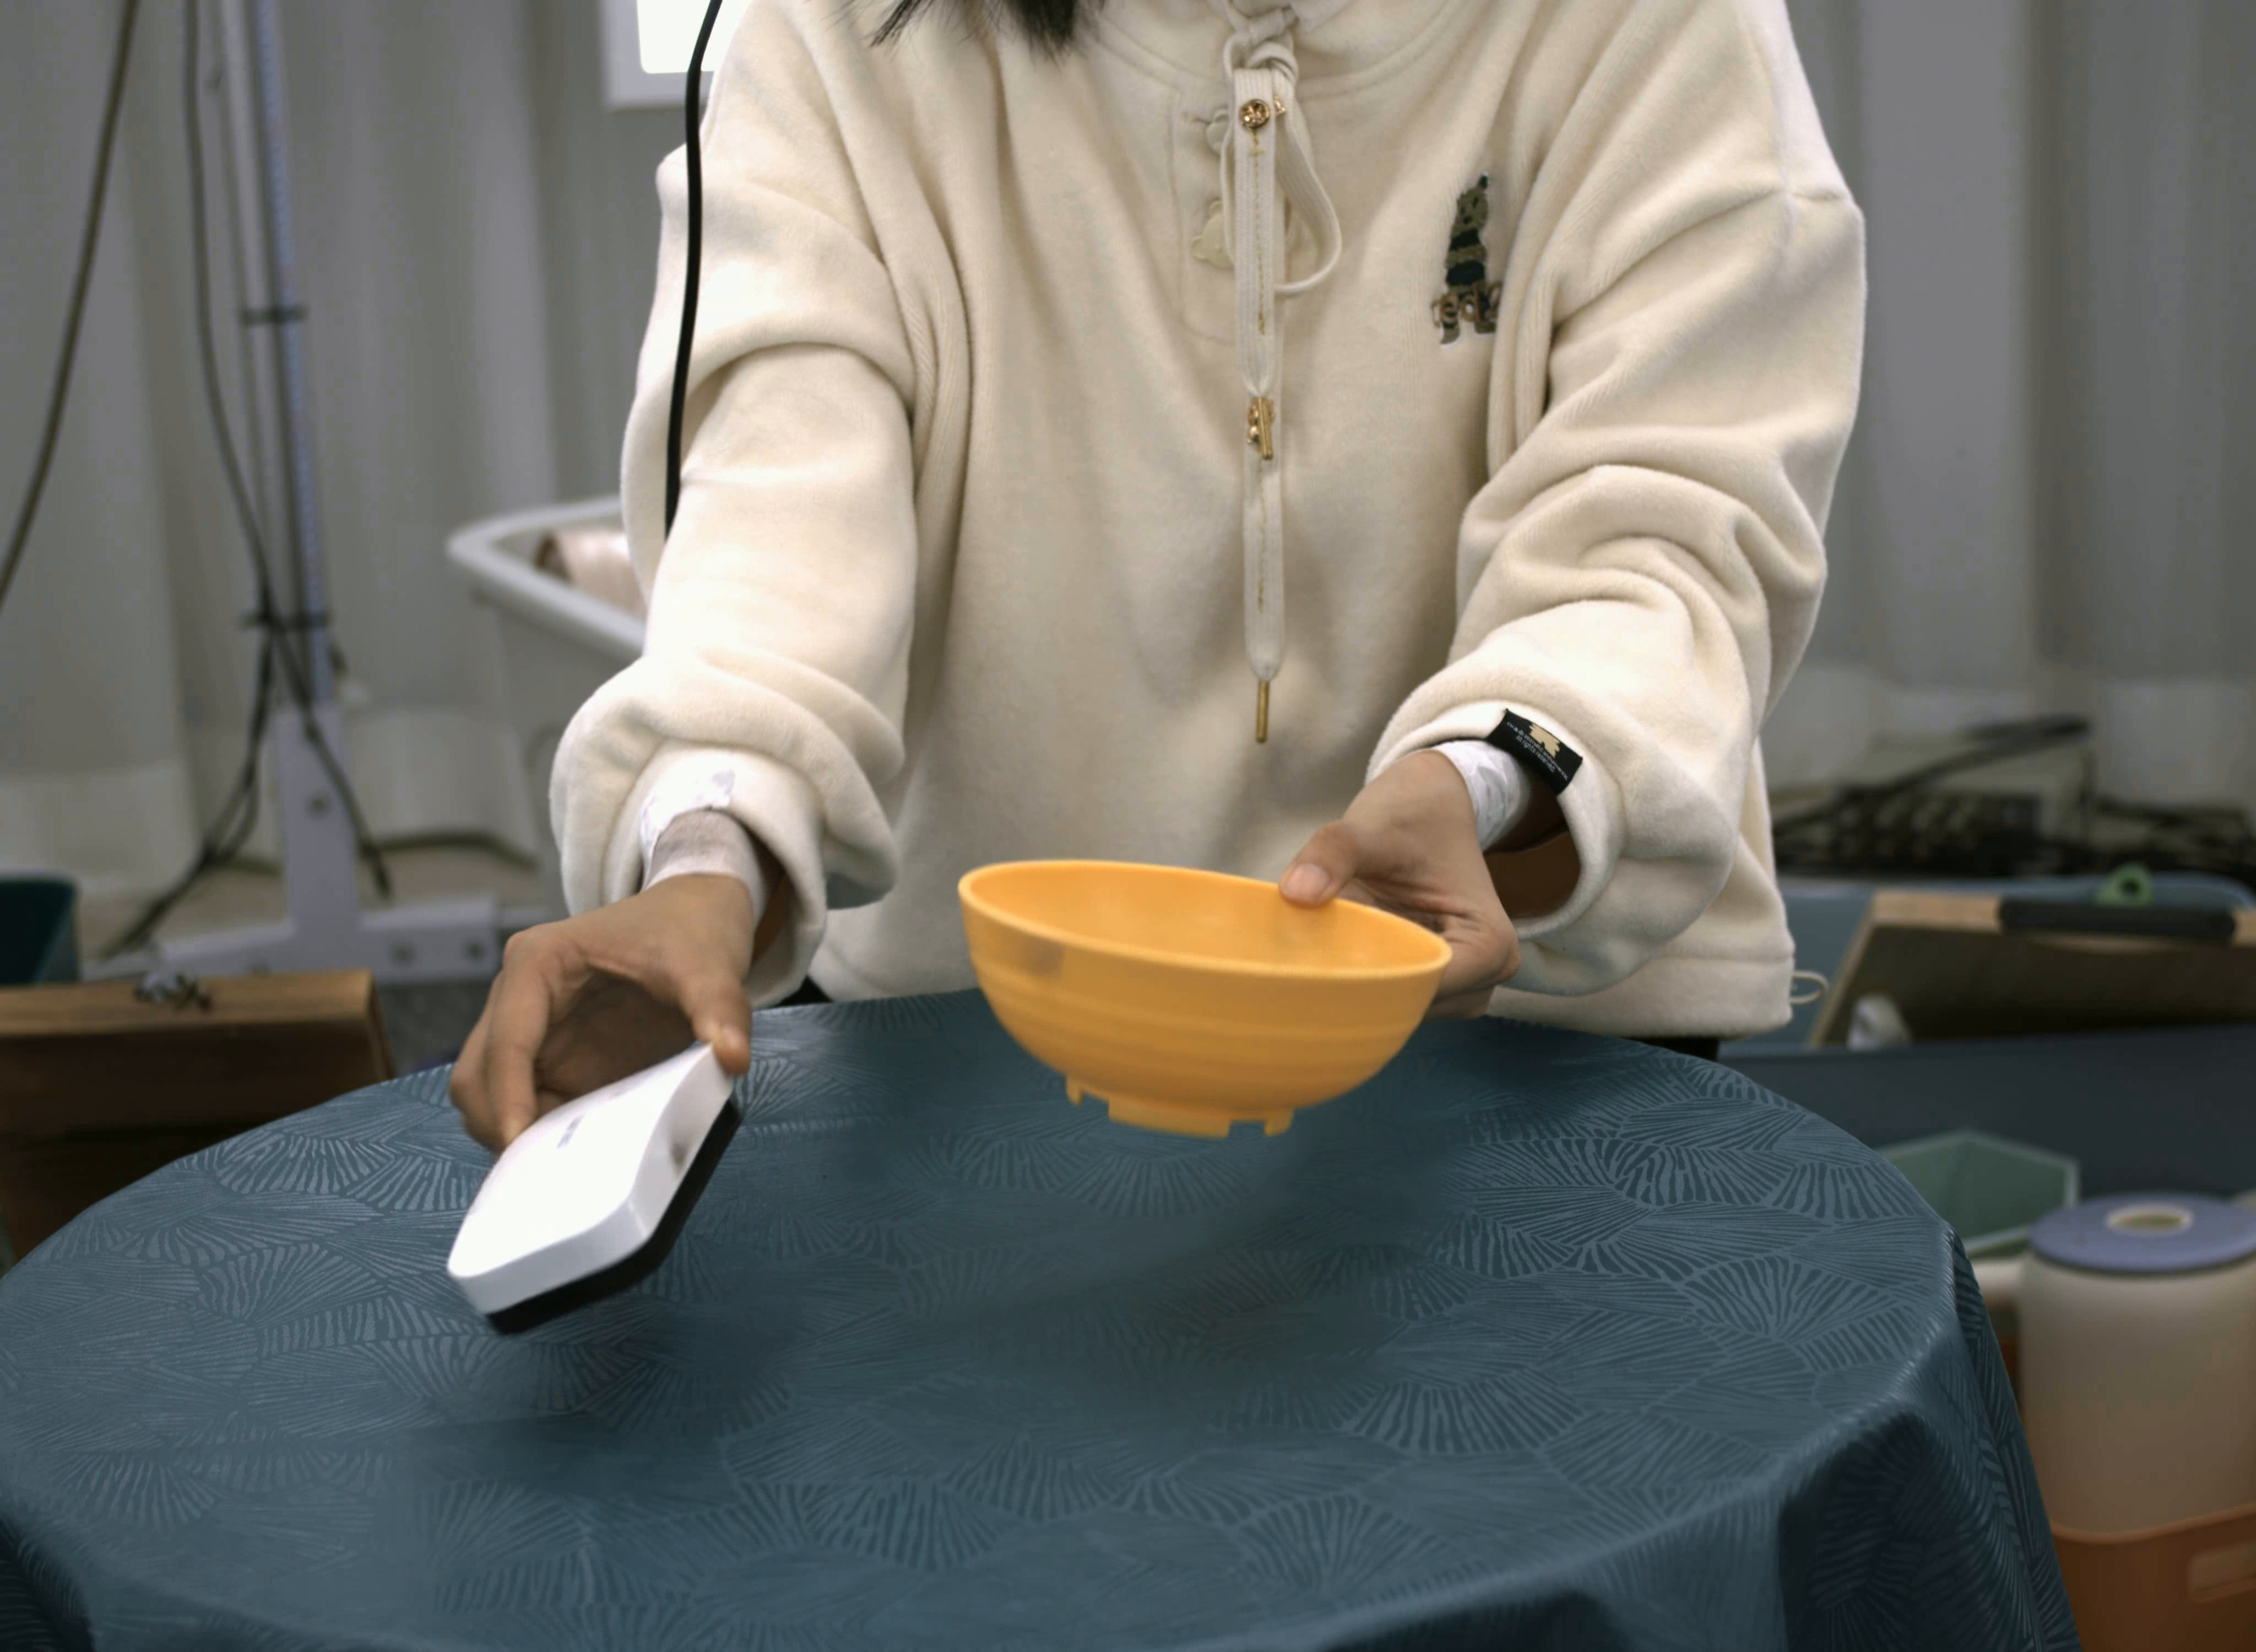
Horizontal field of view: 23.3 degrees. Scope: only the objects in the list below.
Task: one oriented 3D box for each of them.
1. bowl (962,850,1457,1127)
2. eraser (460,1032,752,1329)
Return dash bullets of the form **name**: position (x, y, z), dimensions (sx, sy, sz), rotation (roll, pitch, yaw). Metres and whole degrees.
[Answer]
- **bowl**: position (0.020, 0.051, 1.586), dimensions (0.145, 0.060, 0.146), rotation (7, 10, -1)
- **eraser**: position (-0.148, 0.098, 1.569), dimensions (0.063, 0.034, 0.132), rotation (-26, 14, 17)
